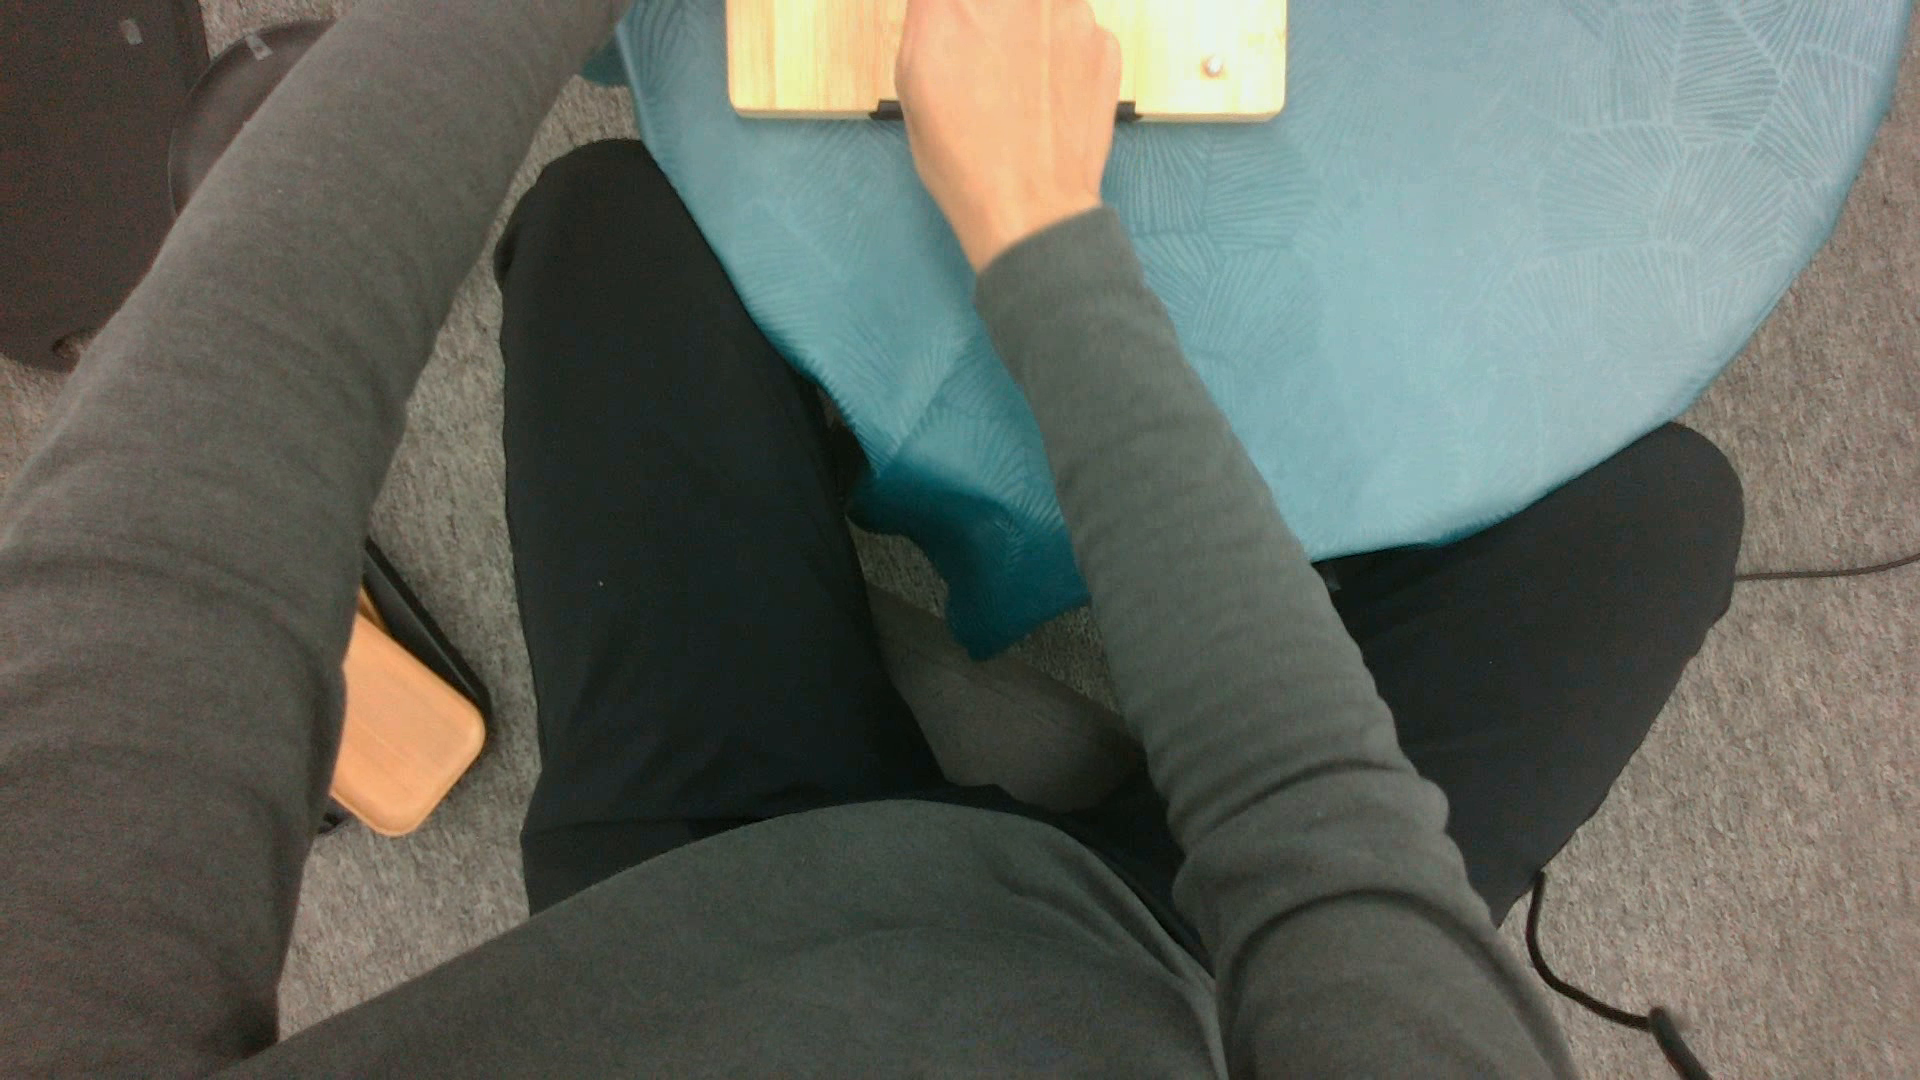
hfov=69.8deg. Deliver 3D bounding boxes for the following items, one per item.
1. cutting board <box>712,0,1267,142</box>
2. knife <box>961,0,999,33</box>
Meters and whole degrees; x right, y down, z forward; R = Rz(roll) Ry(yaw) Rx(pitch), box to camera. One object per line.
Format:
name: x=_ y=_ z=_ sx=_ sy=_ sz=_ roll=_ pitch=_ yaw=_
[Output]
cutting board: x=0.013 y=-0.350 z=0.597 sx=0.251 sy=0.023 sz=0.348 roll=-2 pitch=94 yaw=-3
knife: x=0.001 y=-0.323 z=0.547 sx=0.016 sy=0.024 sz=0.238 roll=-4 pitch=89 yaw=-8
